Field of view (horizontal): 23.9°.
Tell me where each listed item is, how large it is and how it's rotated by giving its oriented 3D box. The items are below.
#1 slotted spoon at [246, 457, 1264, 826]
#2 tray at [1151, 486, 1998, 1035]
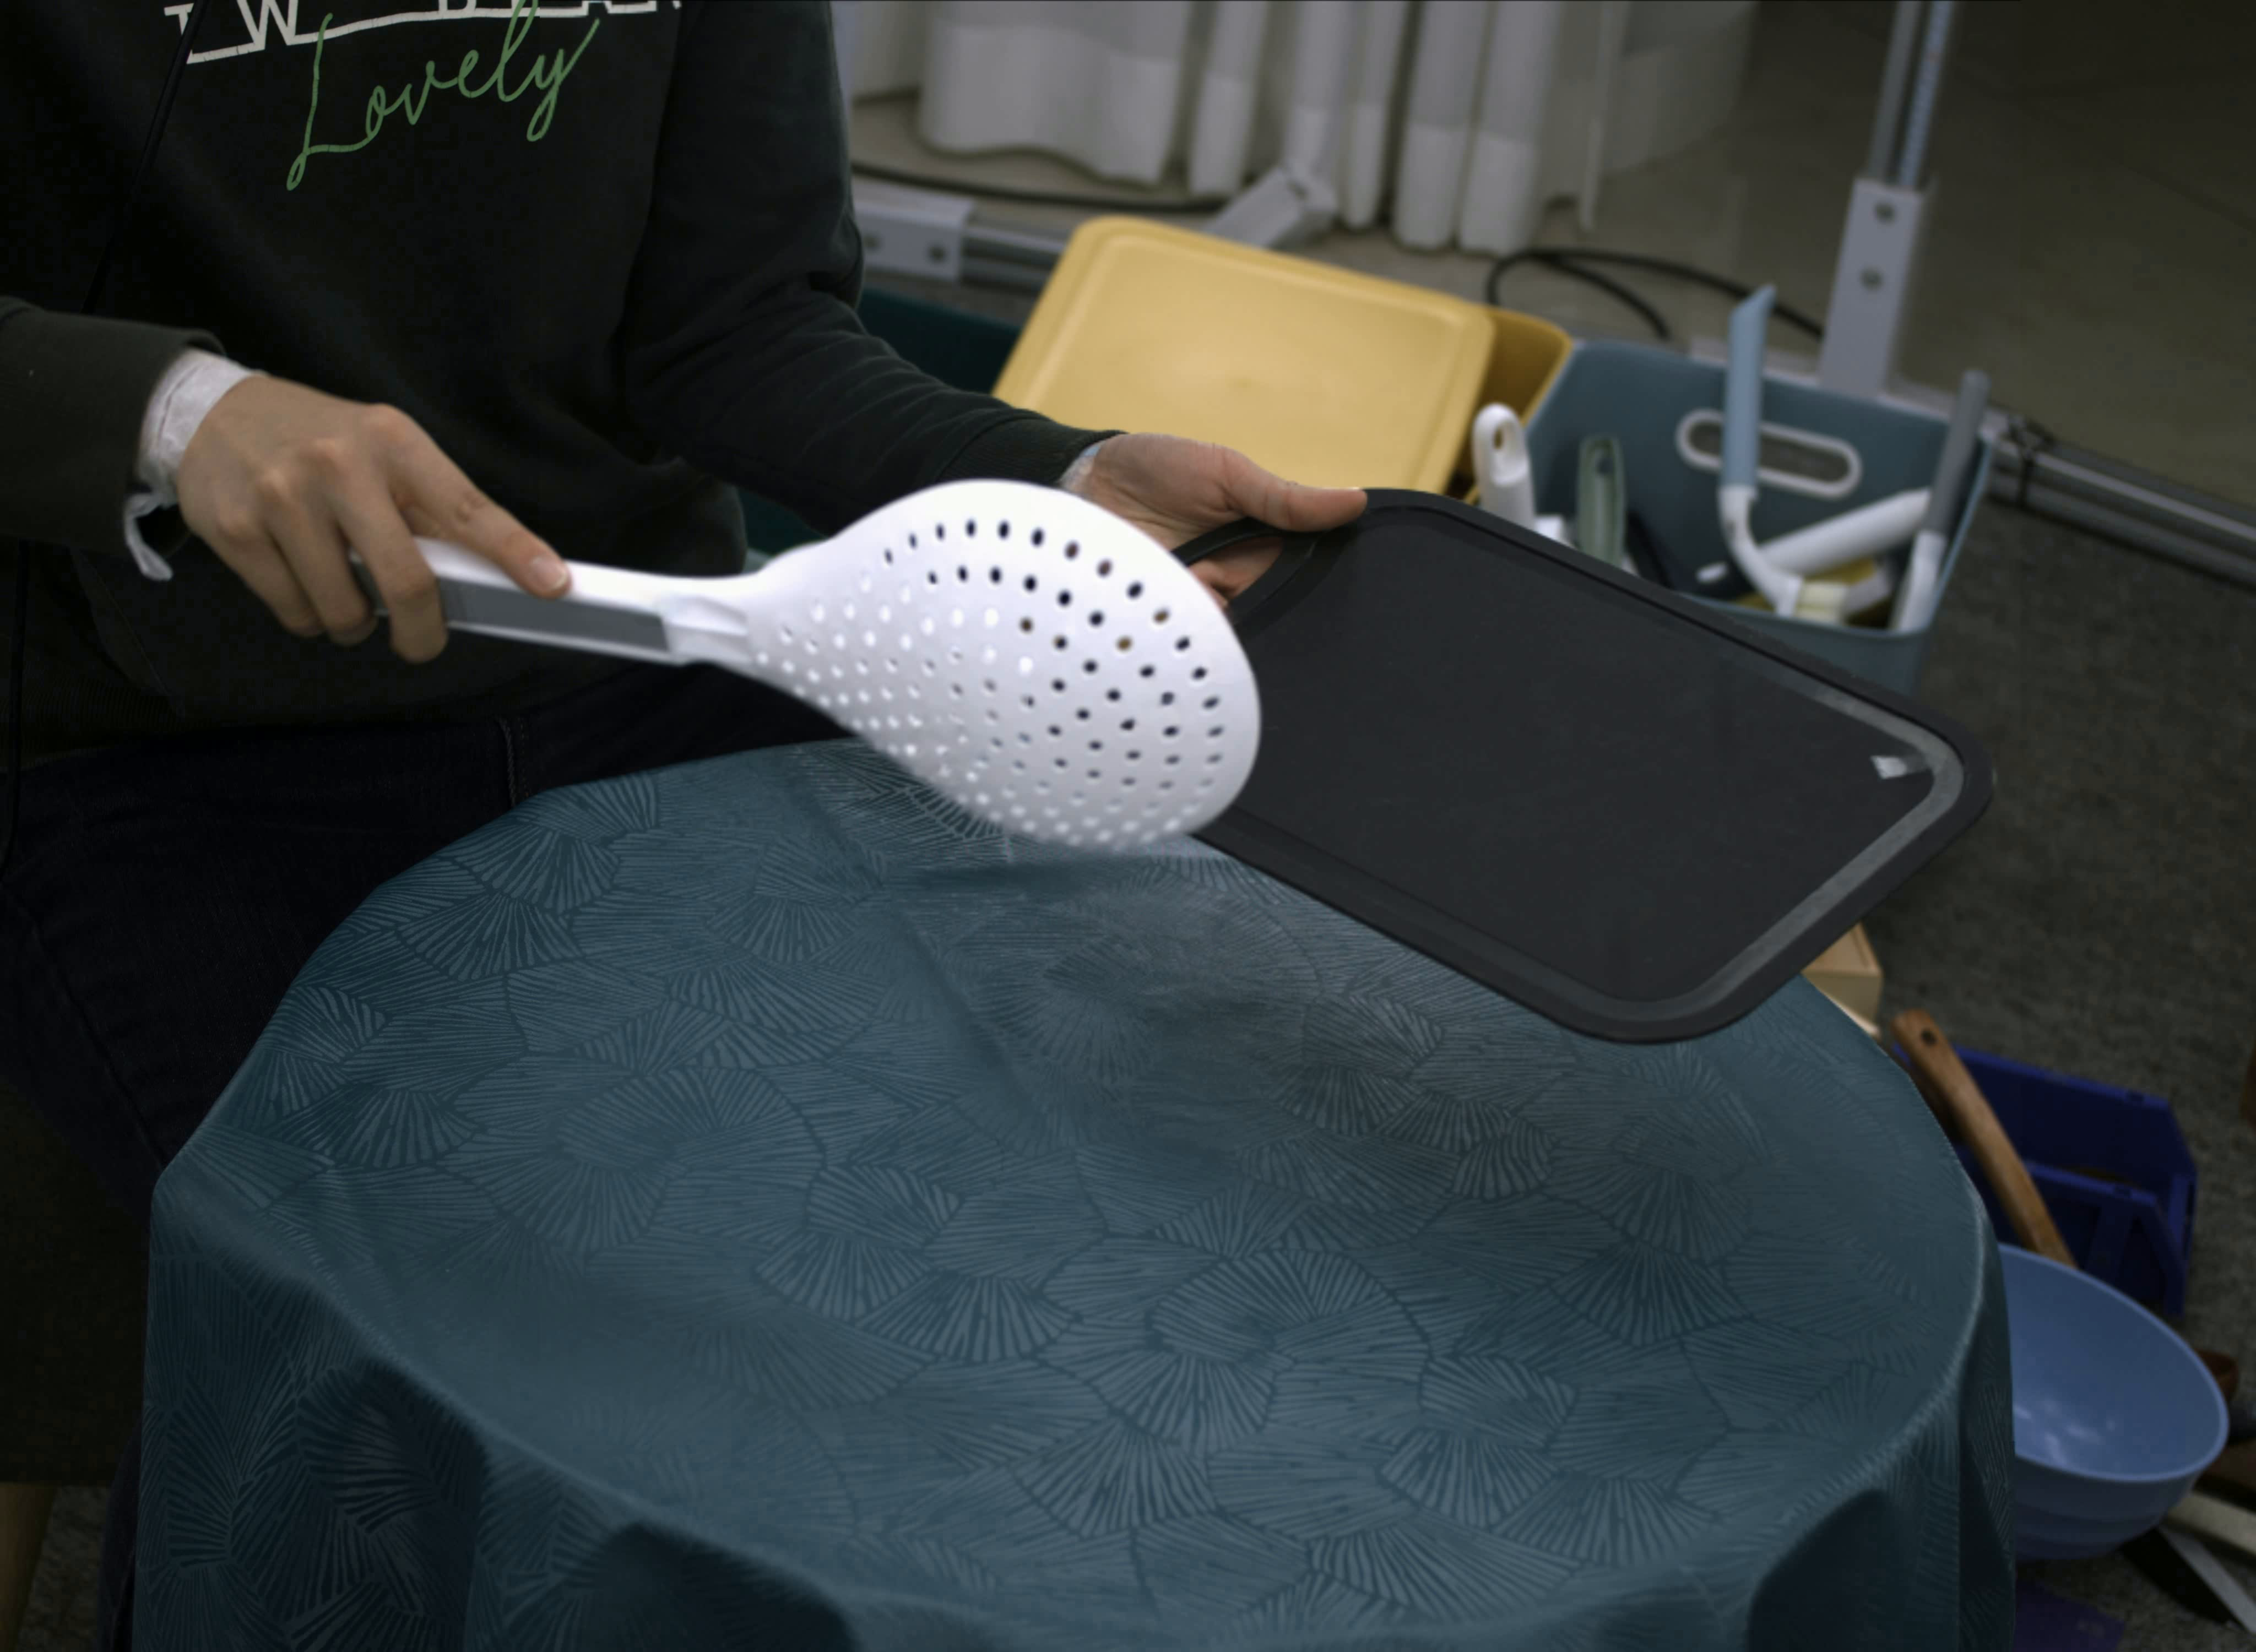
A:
[{"bbox_3d":[-0.122,-0.066,1.633,0.351,0.135,0.046,13,44,28],"label":"slotted spoon"},{"bbox_3d":[0.123,-0.032,1.836,0.328,0.010,0.211,27,48,35],"label":"tray"}]
